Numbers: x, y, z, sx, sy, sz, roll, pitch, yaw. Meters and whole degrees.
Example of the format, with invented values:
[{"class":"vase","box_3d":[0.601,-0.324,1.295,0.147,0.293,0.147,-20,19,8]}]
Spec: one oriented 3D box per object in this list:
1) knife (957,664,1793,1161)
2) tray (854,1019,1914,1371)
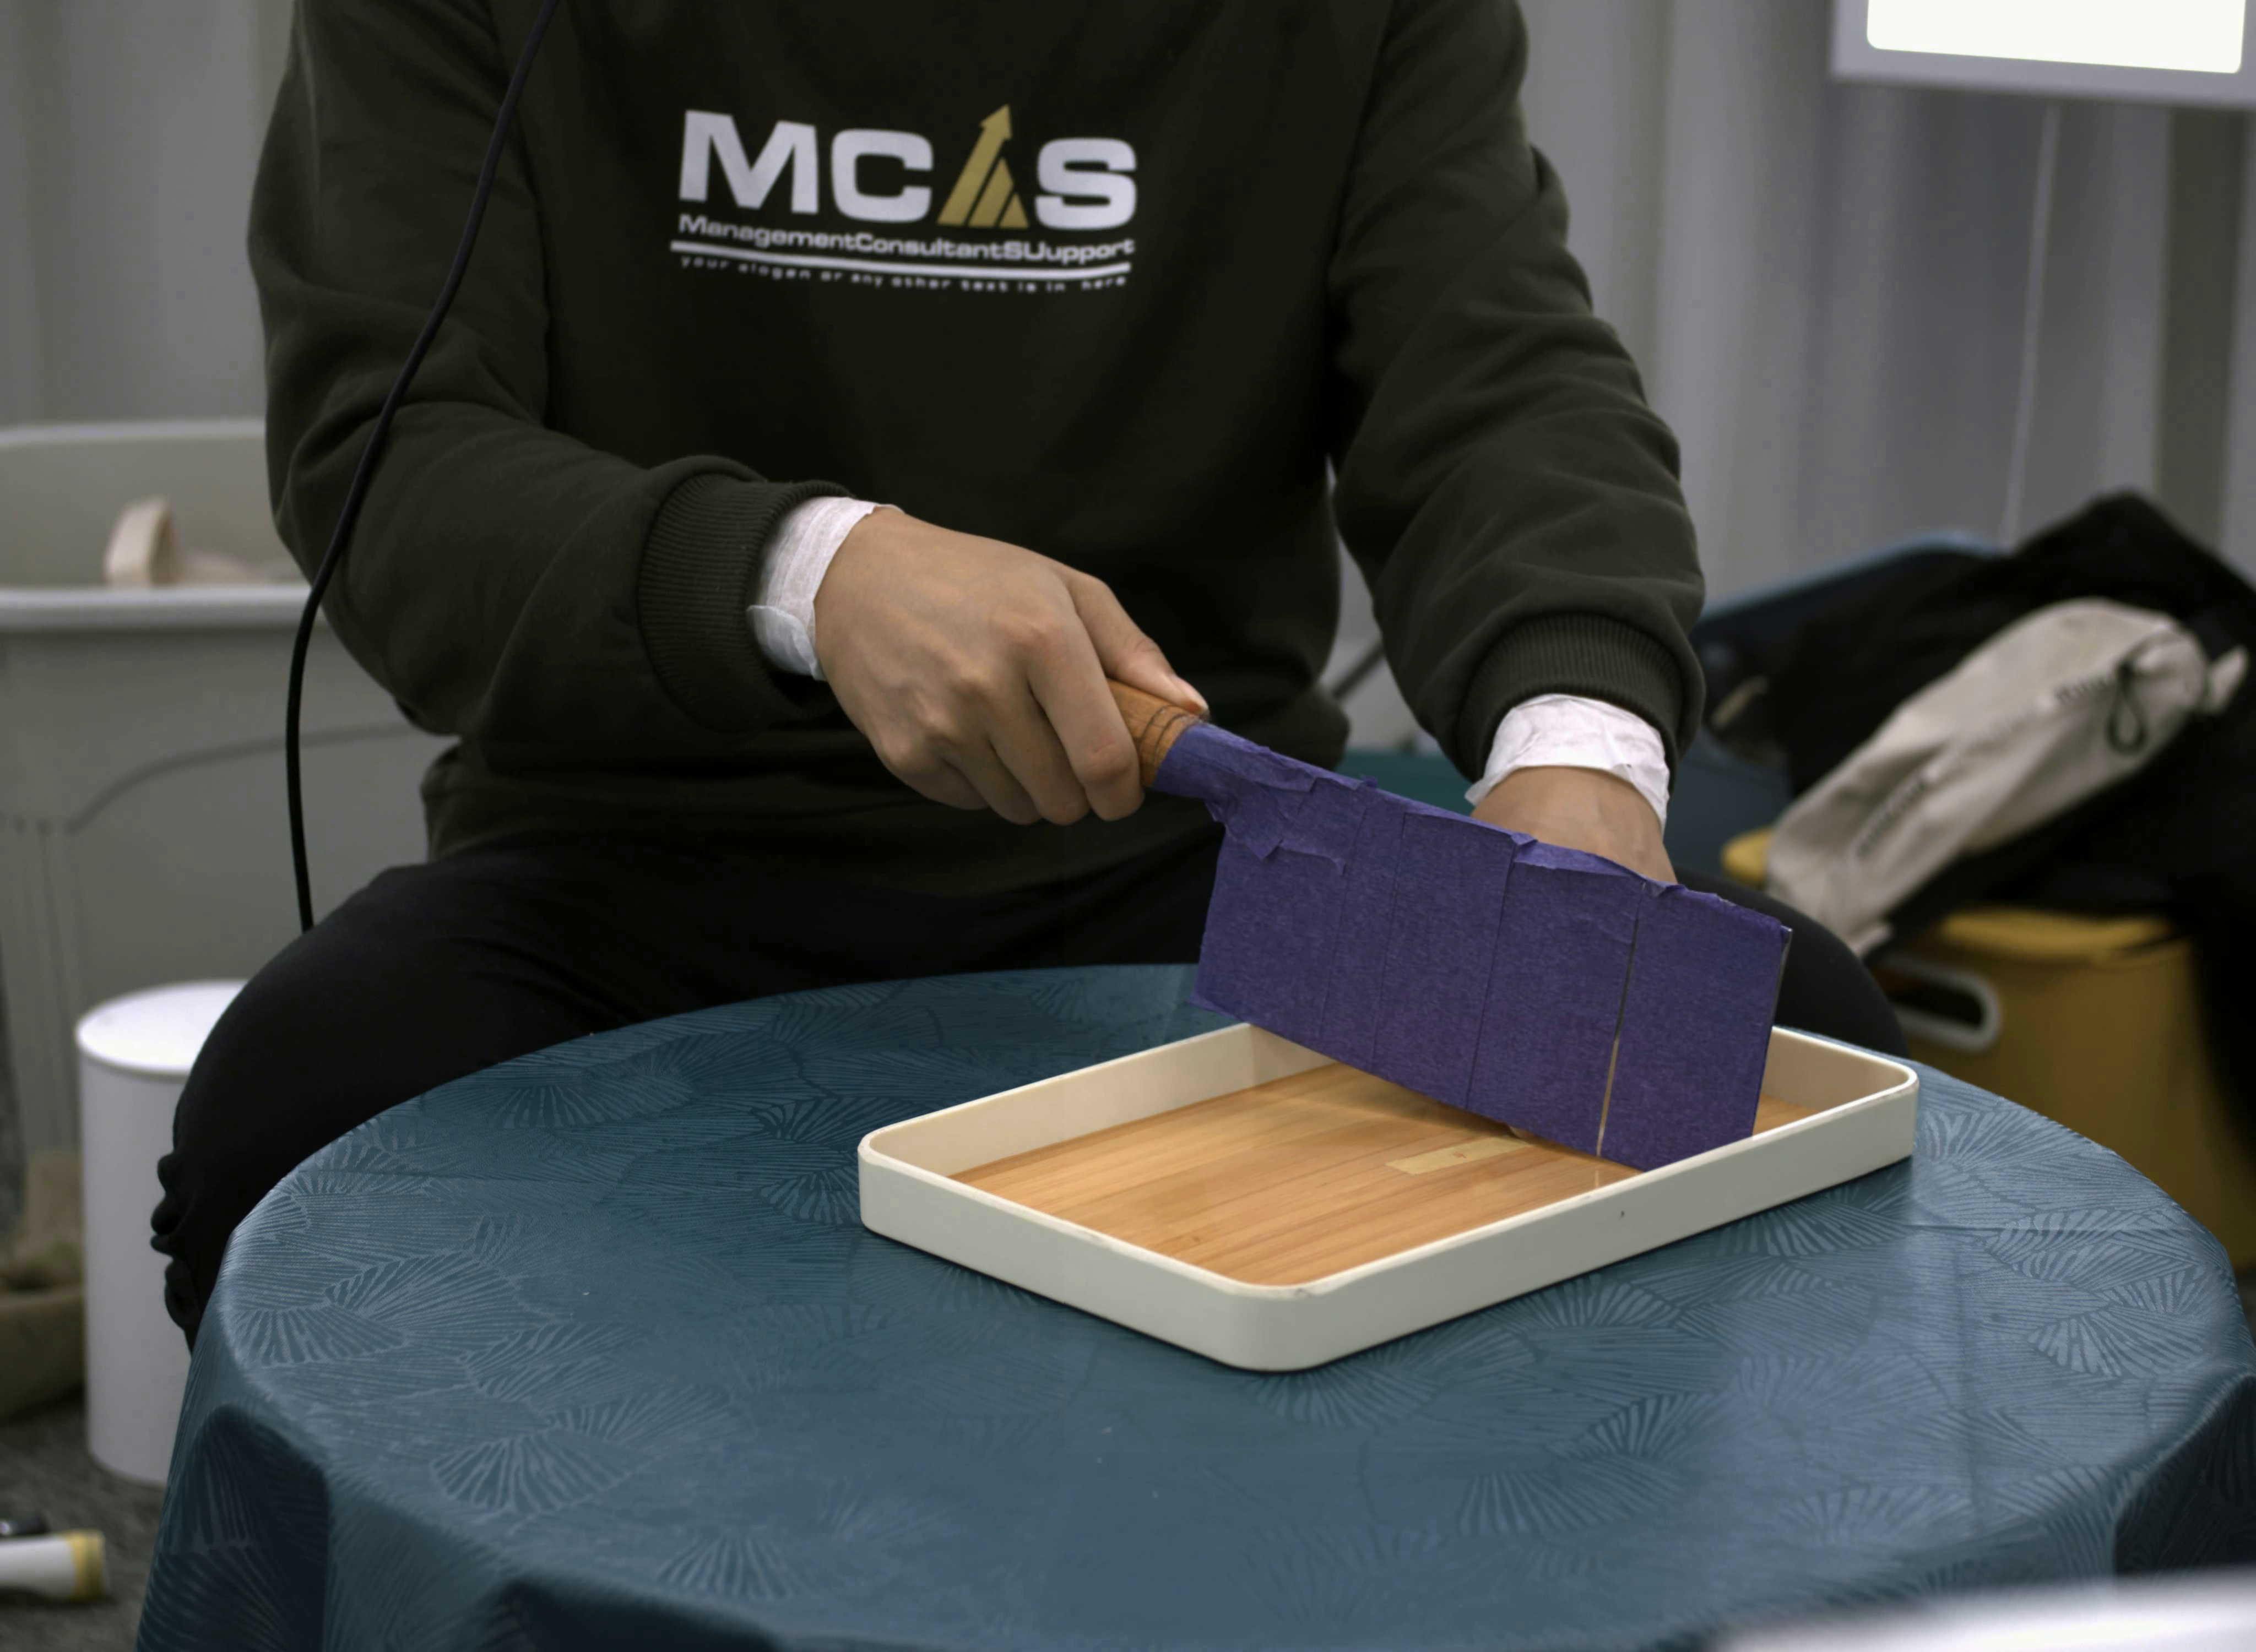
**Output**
[{"class":"knife","box_3d":[0.068,0.028,1.674,0.311,0.104,0.032,19,15,34]},{"class":"tray","box_3d":[0.082,0.098,1.627,0.302,0.027,0.189,-14,21,-42]}]
